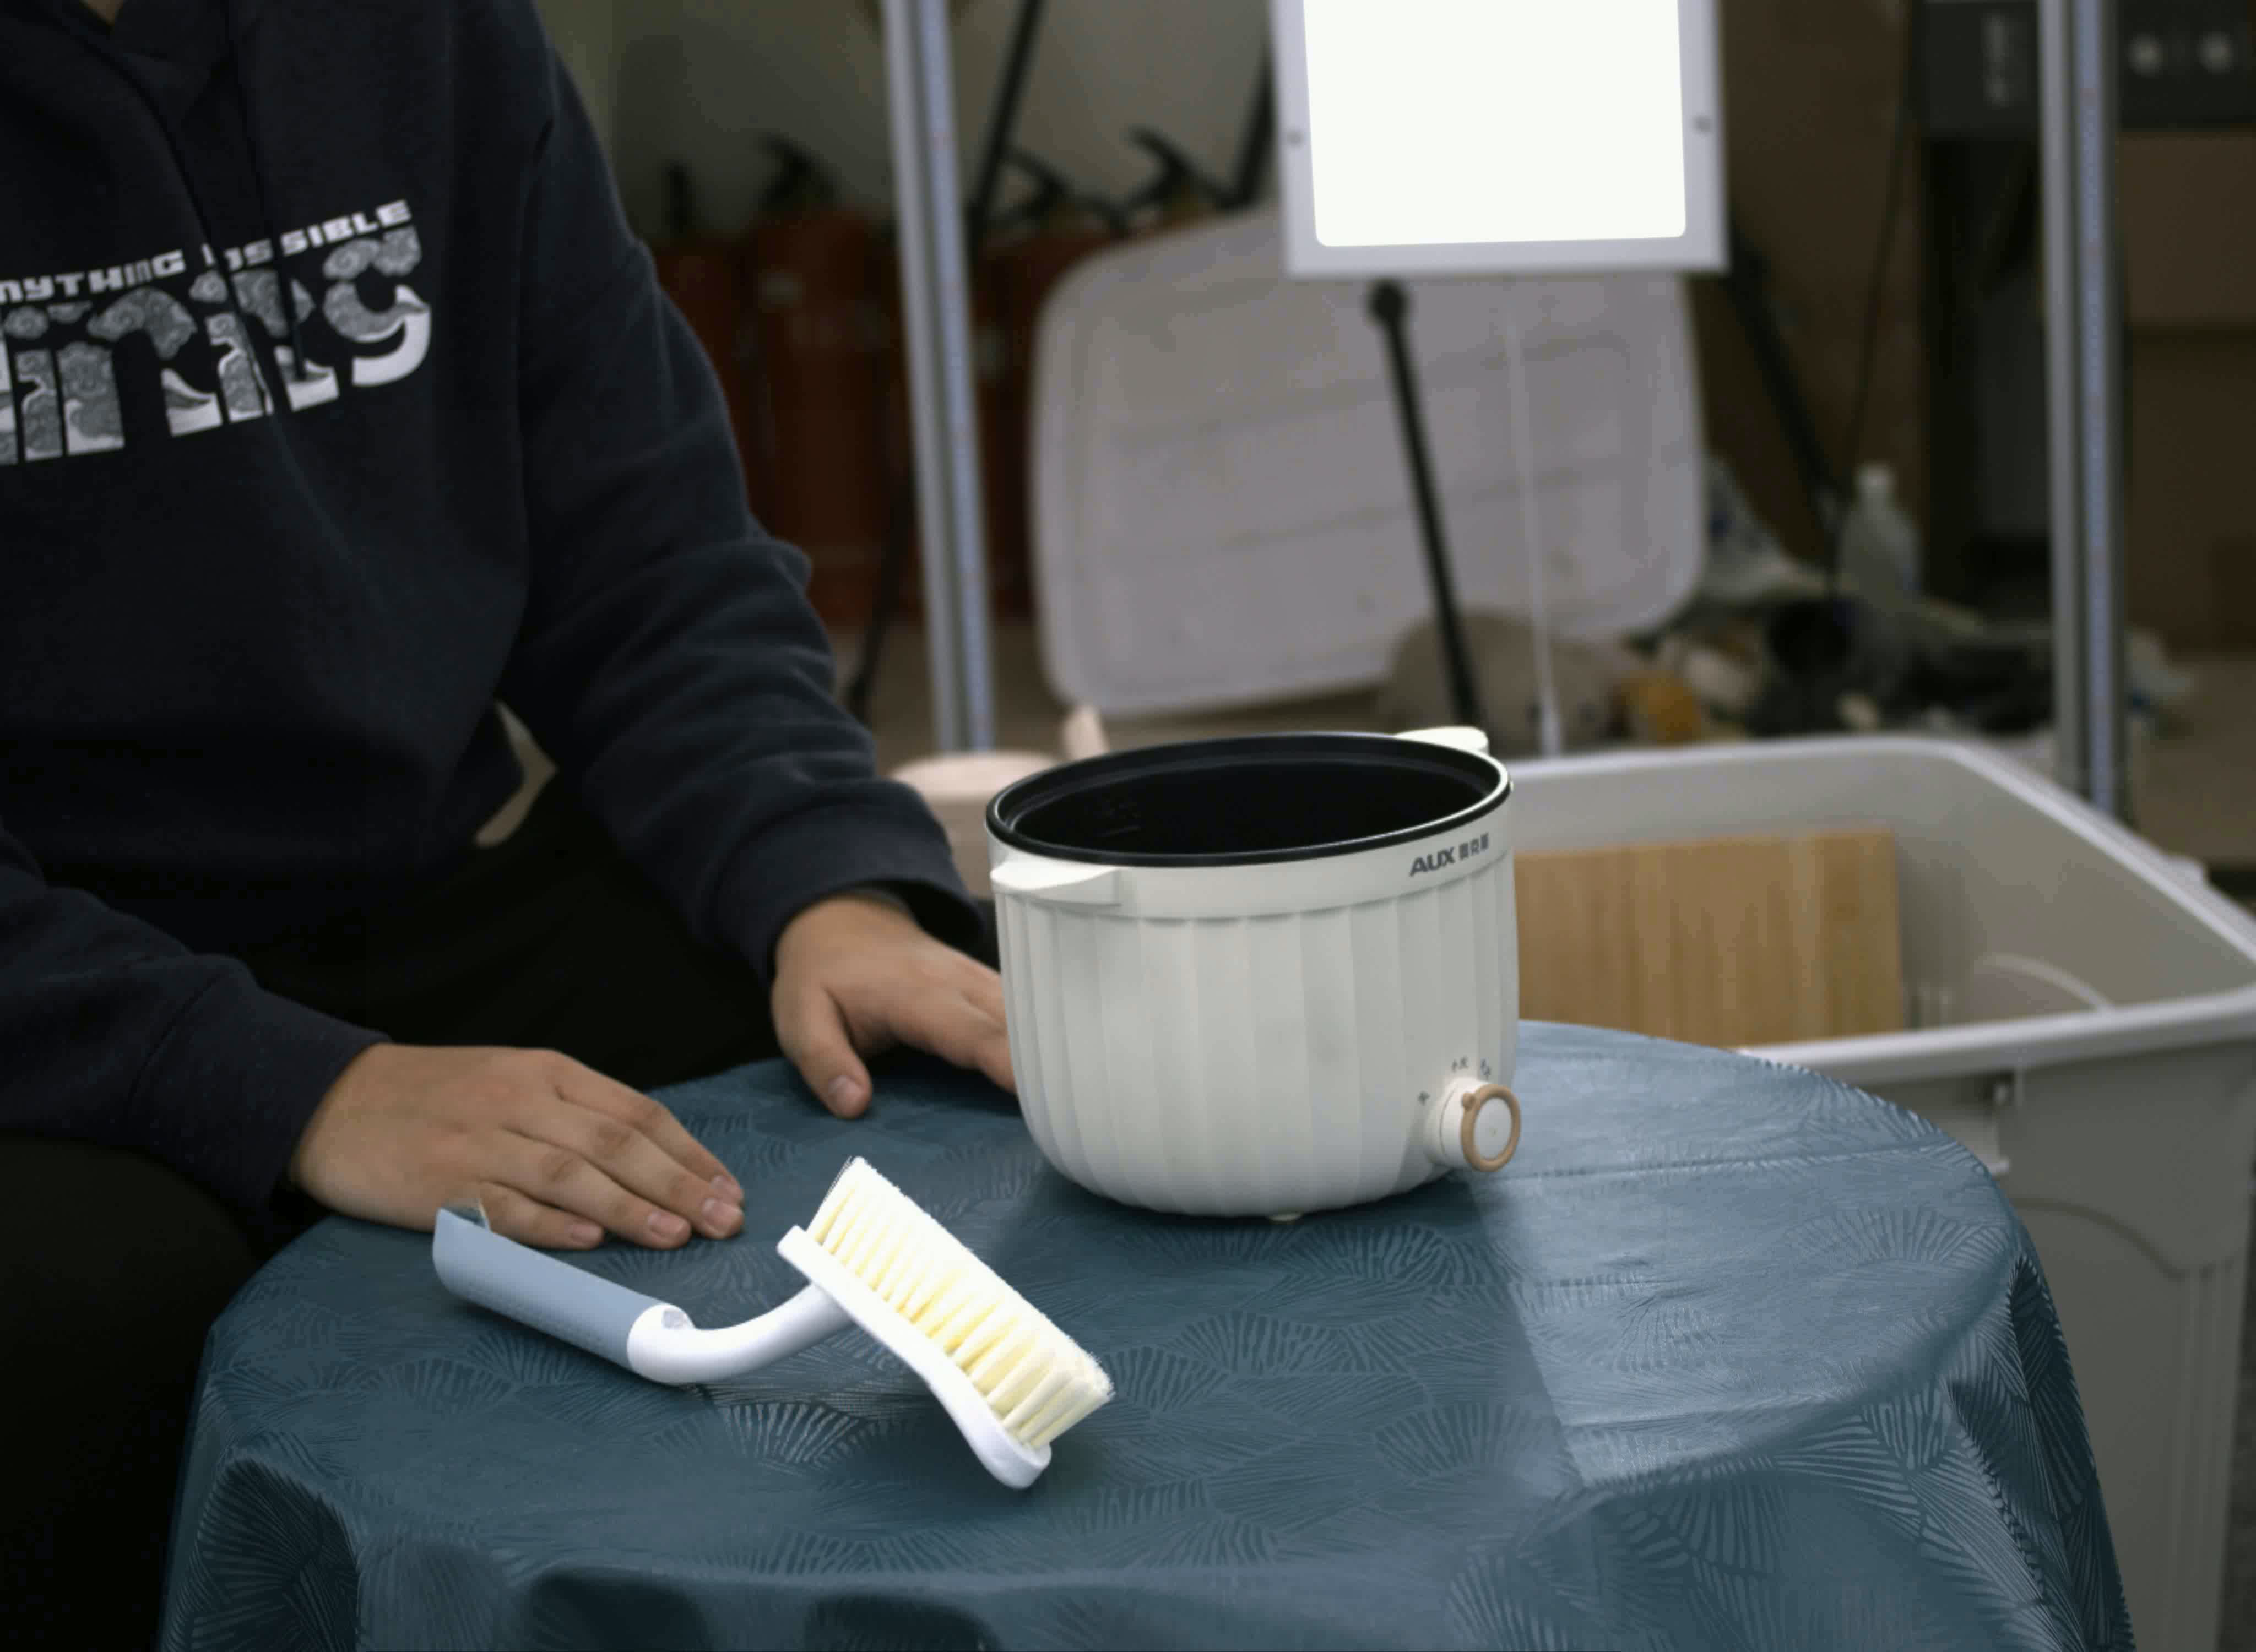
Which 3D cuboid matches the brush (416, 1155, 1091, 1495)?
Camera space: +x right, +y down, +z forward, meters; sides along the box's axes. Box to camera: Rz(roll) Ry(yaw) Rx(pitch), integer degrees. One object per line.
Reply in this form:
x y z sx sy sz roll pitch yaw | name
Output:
-0.118 0.133 1.736 0.082 0.083 0.332 -20 21 -33 | brush

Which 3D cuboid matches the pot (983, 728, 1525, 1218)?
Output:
0.051 0.052 1.893 0.195 0.143 0.234 4 17 44 | pot
